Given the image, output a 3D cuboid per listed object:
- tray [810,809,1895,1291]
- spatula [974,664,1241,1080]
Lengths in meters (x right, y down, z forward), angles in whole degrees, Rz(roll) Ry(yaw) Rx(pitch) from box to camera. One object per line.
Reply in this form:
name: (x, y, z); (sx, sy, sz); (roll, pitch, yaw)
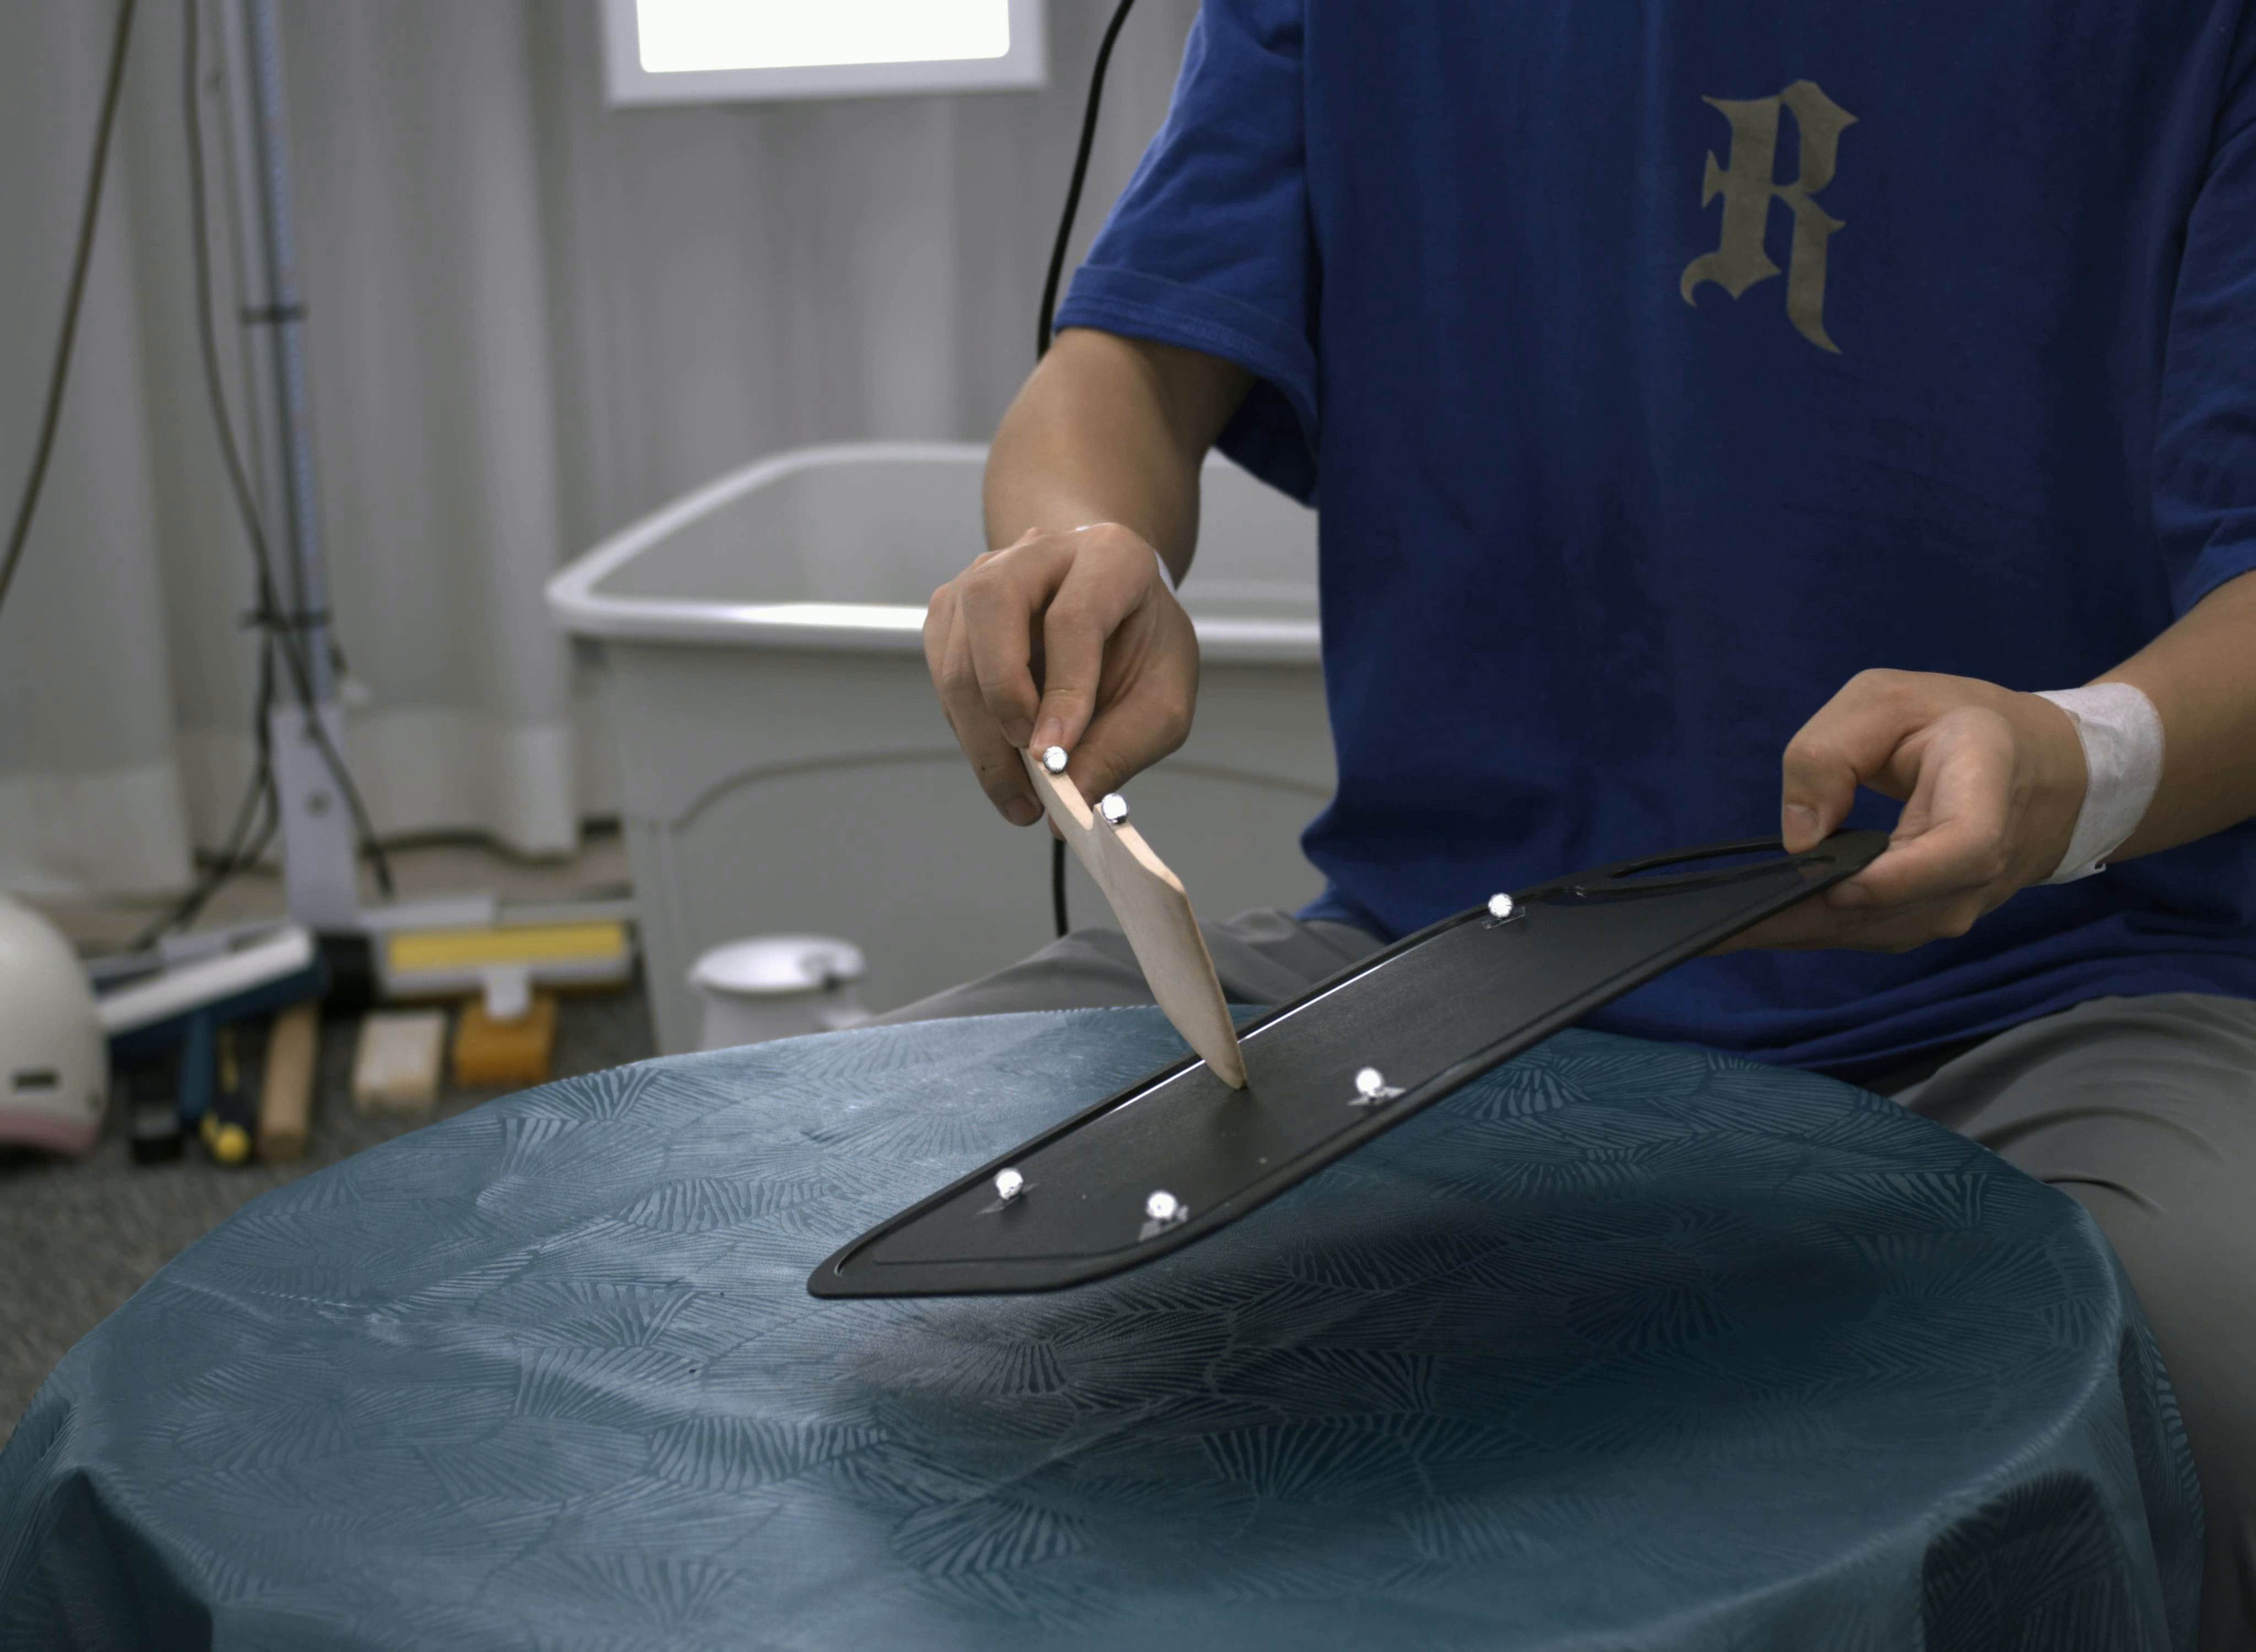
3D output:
tray: (0.070, 0.061, 1.572); (0.325, 0.010, 0.211); (-27, 9, -29)
spatula: (-0.014, 0.001, 1.705); (0.010, 0.071, 0.296); (-22, 22, -6)
